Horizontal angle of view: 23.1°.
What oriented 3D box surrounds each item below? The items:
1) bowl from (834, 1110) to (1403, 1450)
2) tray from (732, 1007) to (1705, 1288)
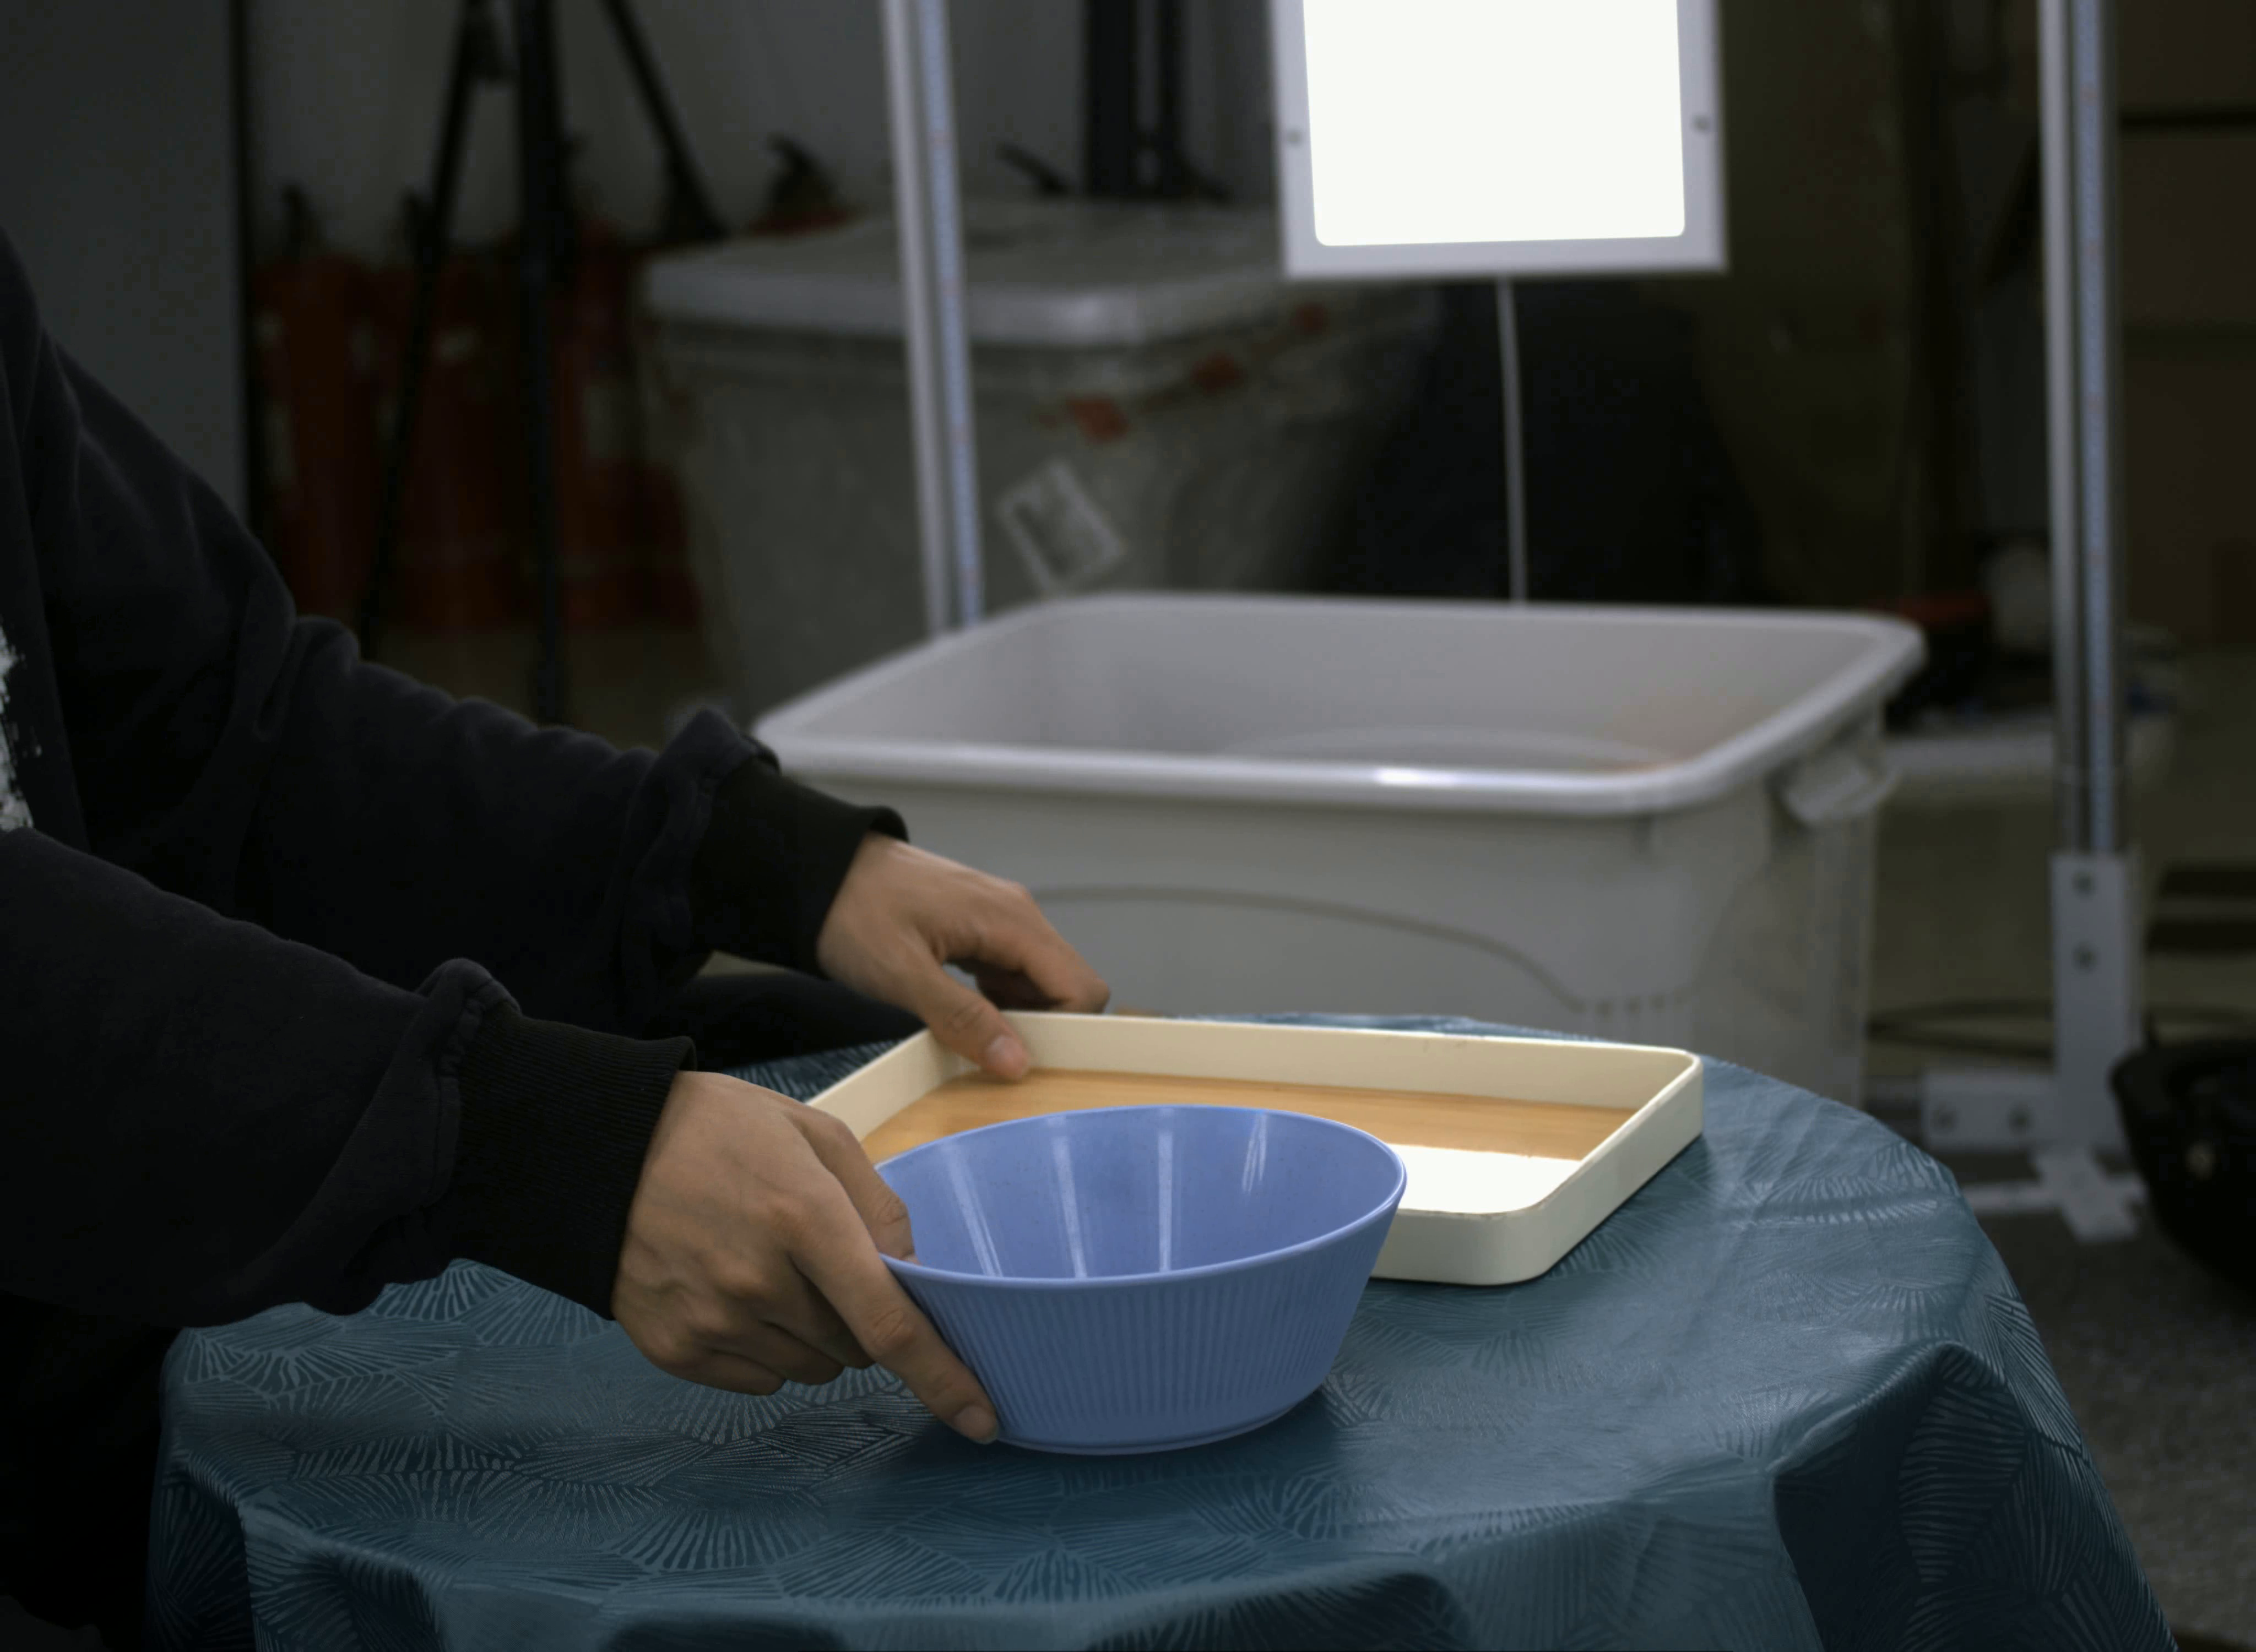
[{"bbox_3d":[-0.001,0.141,1.687,0.175,0.070,0.176,-4,13,0],"label":"bowl"},{"bbox_3d":[0.033,0.109,1.904,0.305,0.027,0.187,3,16,27],"label":"tray"}]
